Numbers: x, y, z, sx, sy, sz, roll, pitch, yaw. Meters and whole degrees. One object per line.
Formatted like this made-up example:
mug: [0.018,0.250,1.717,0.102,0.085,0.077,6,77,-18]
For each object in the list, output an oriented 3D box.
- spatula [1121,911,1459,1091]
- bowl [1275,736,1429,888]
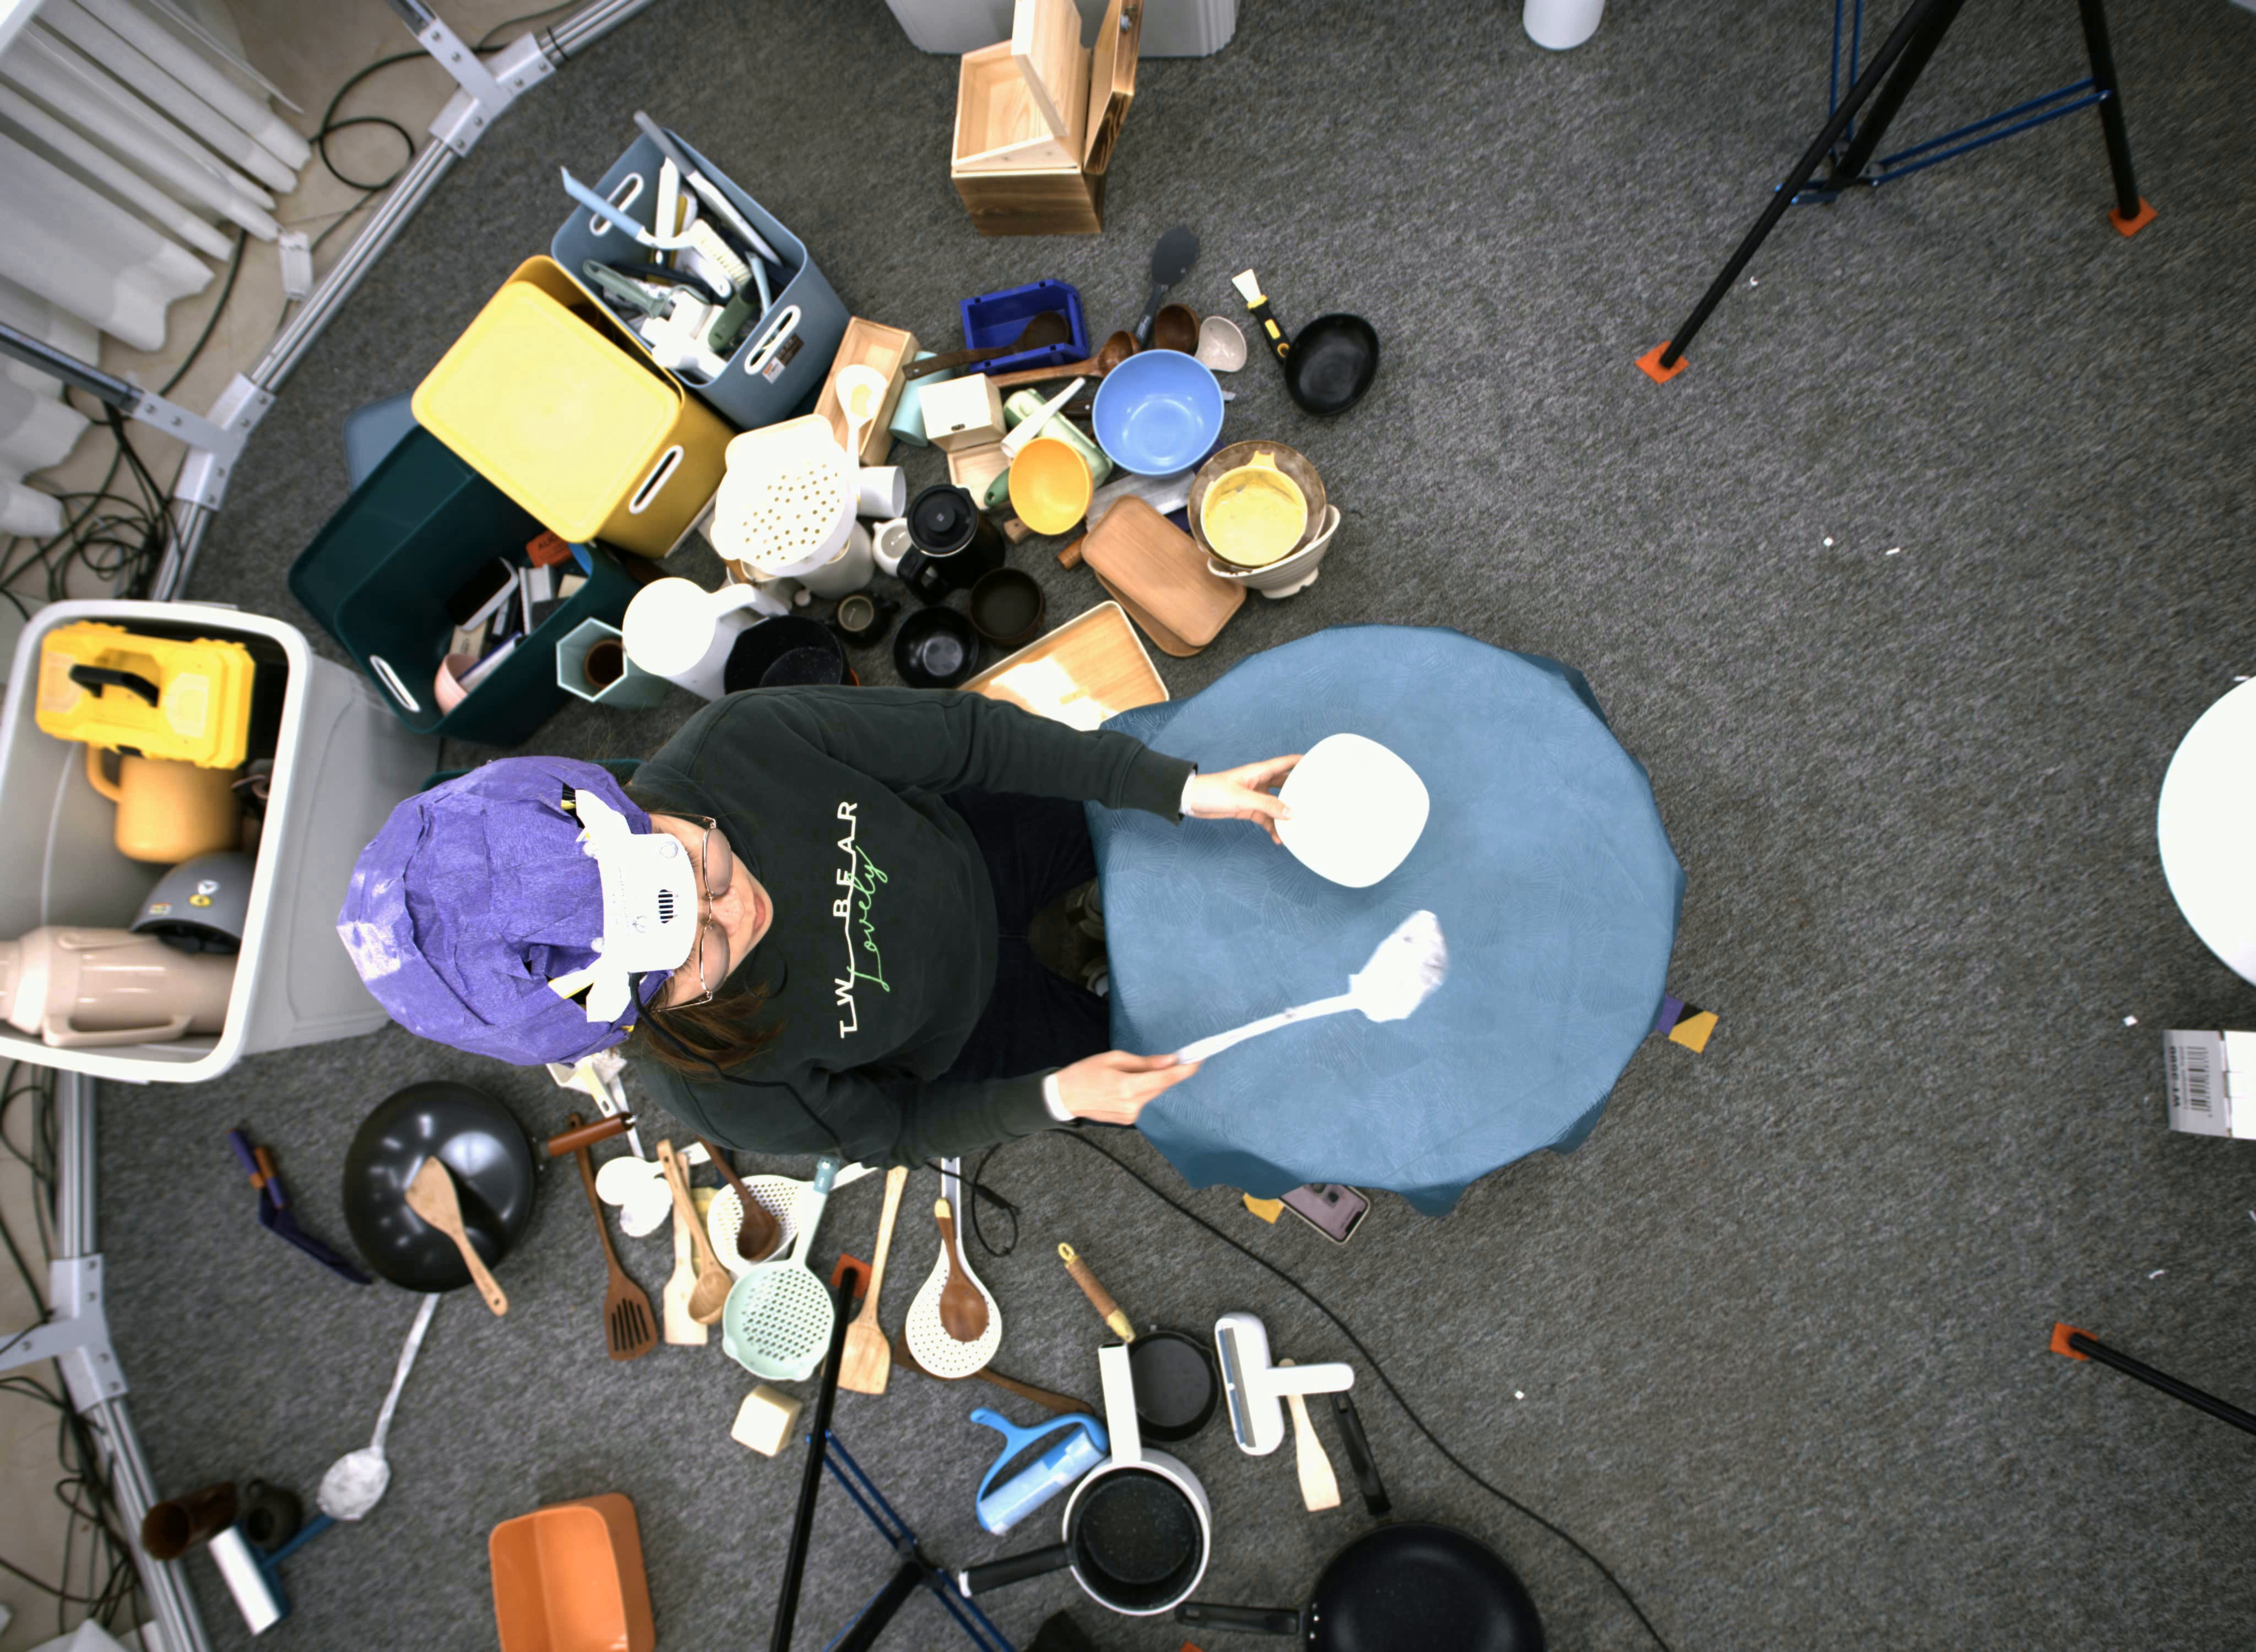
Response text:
spatula: [0.142,0.181,1.304,0.369,0.045,0.096,-23,39,19]
bowl: [0.223,-0.015,1.380,0.152,0.058,0.151,0,93,8]
